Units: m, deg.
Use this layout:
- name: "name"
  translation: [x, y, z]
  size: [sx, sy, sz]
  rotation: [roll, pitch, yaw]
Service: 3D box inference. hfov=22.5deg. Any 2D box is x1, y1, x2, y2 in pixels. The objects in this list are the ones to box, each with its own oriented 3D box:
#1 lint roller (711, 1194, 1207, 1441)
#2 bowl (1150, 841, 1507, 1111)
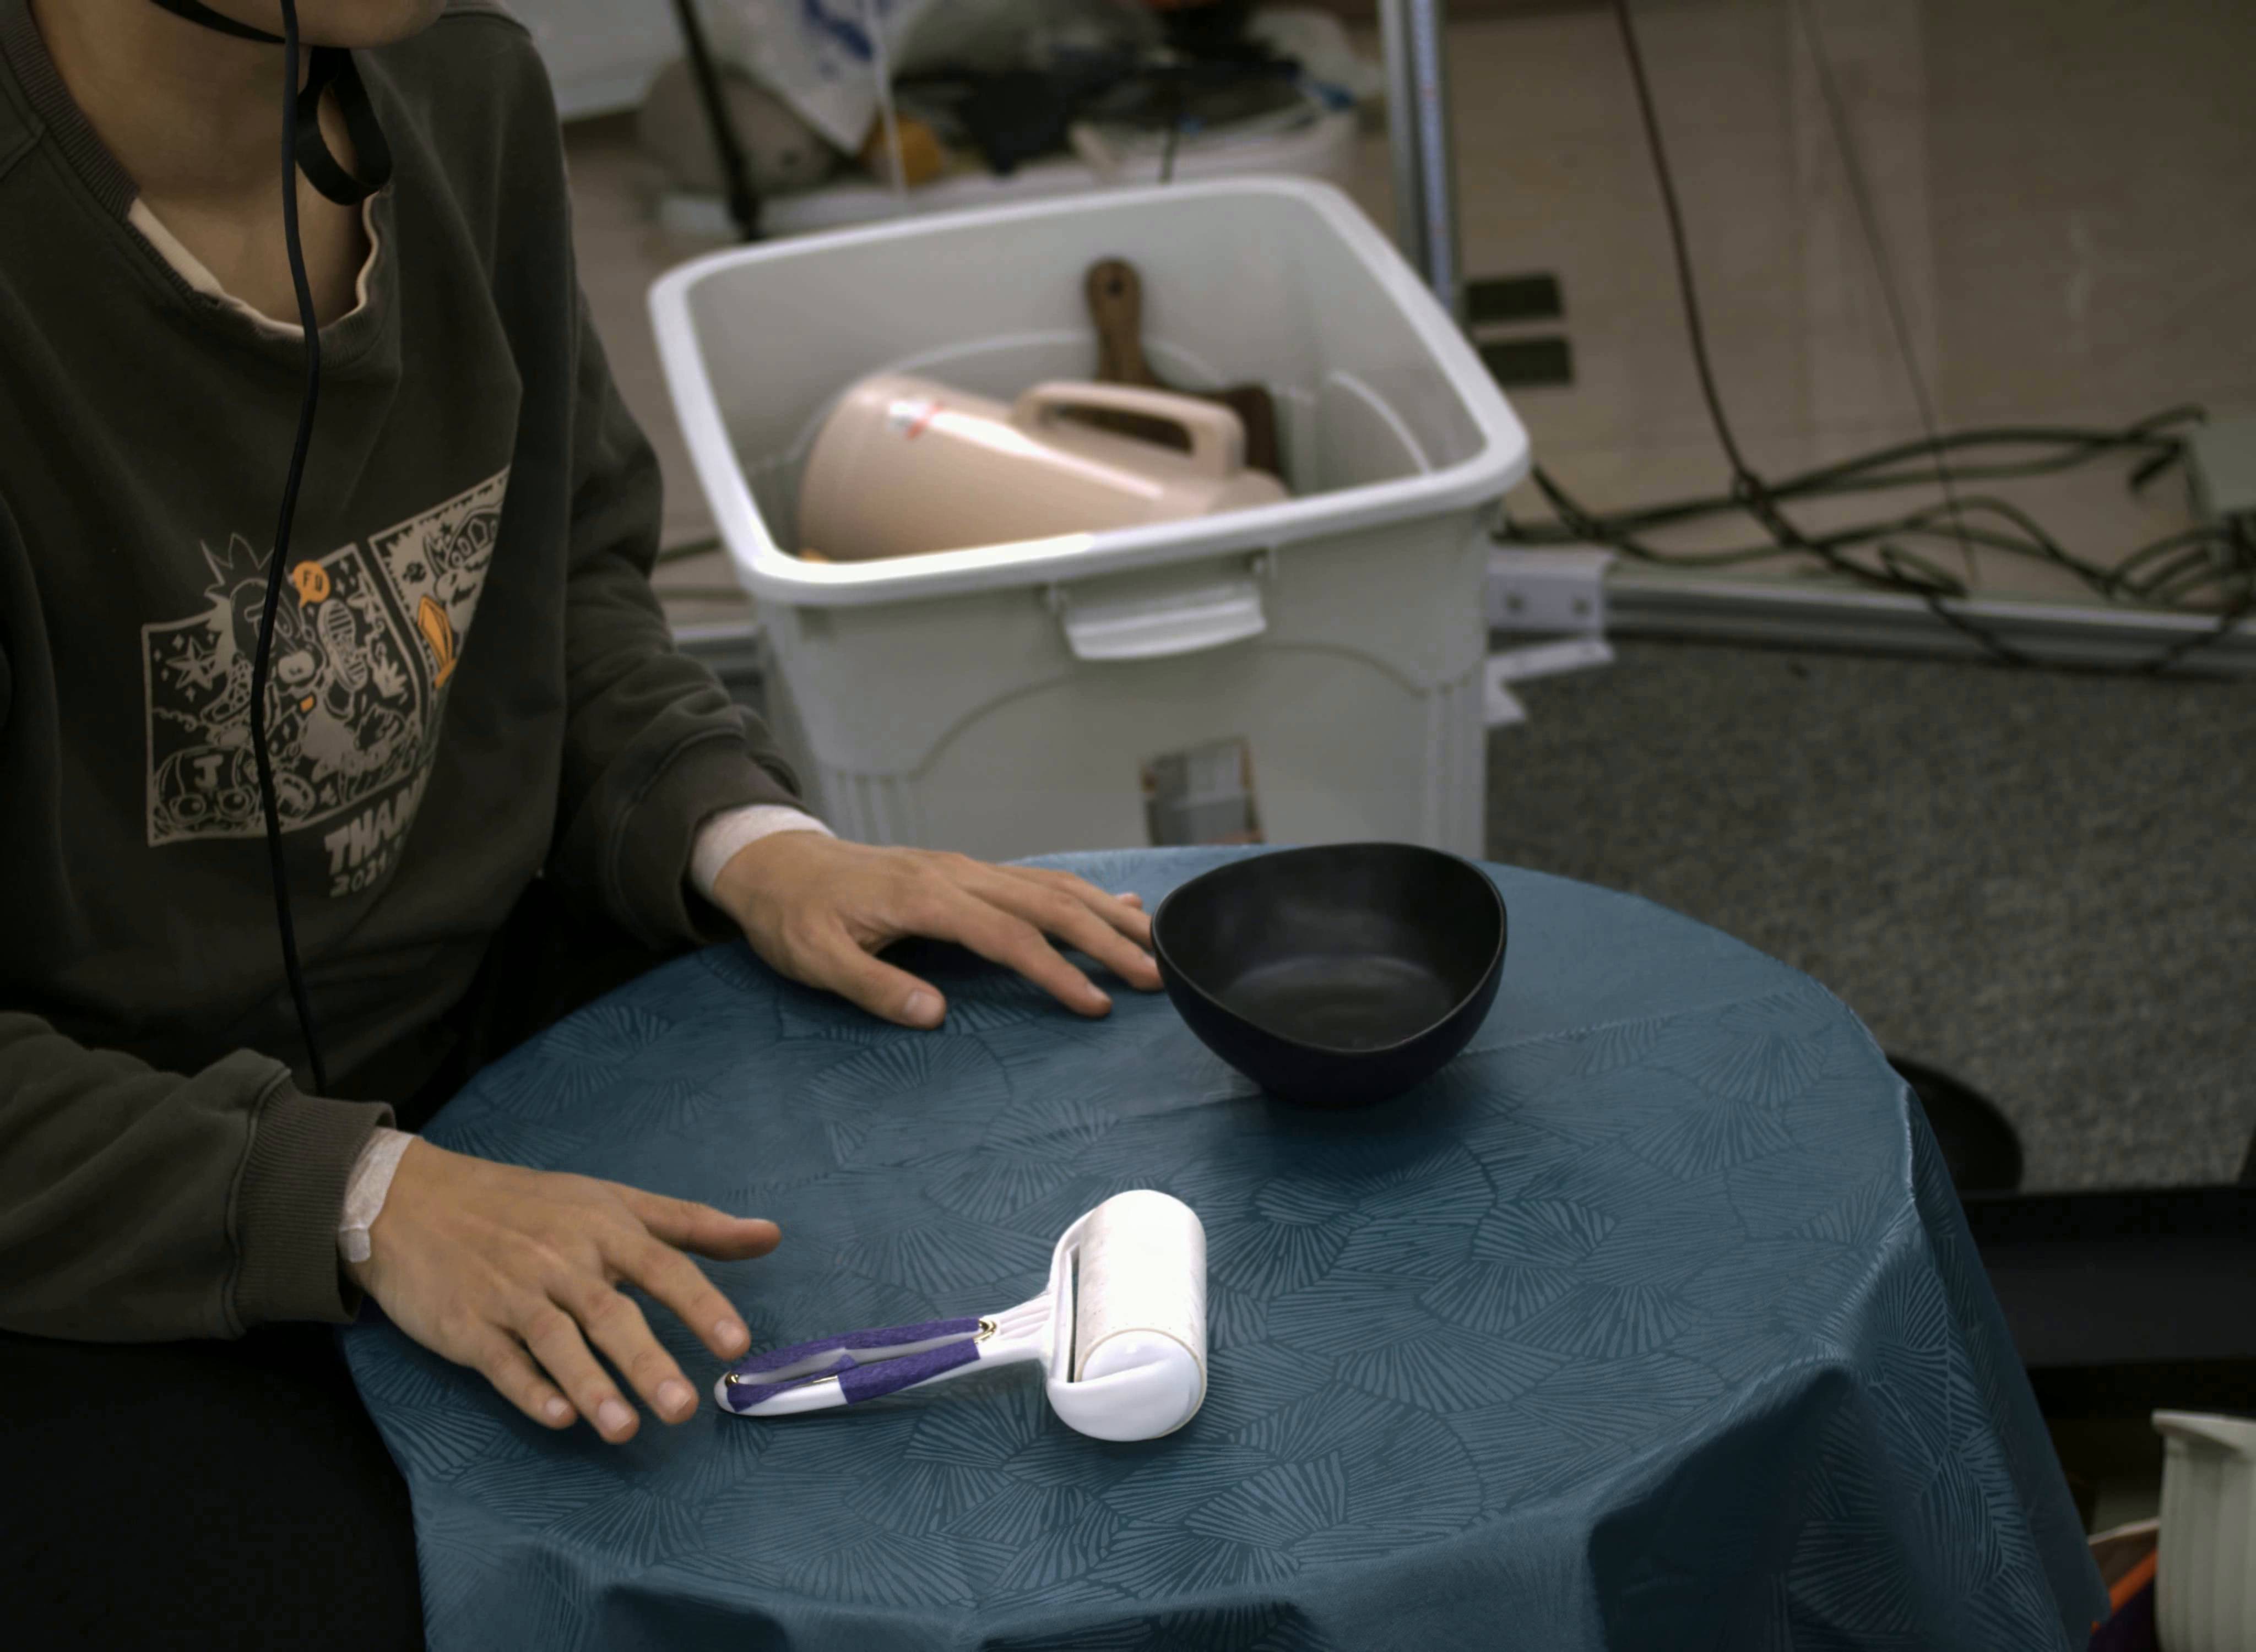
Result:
- name: "lint roller"
  translation: [-0.060, 0.177, 2.023]
  size: [0.180, 0.051, 0.131]
  rotation: [-2, 26, 4]
- name: "bowl"
  translation: [0.082, 0.066, 2.207]
  size: [0.137, 0.068, 0.168]
  rotation: [-12, 27, -10]
